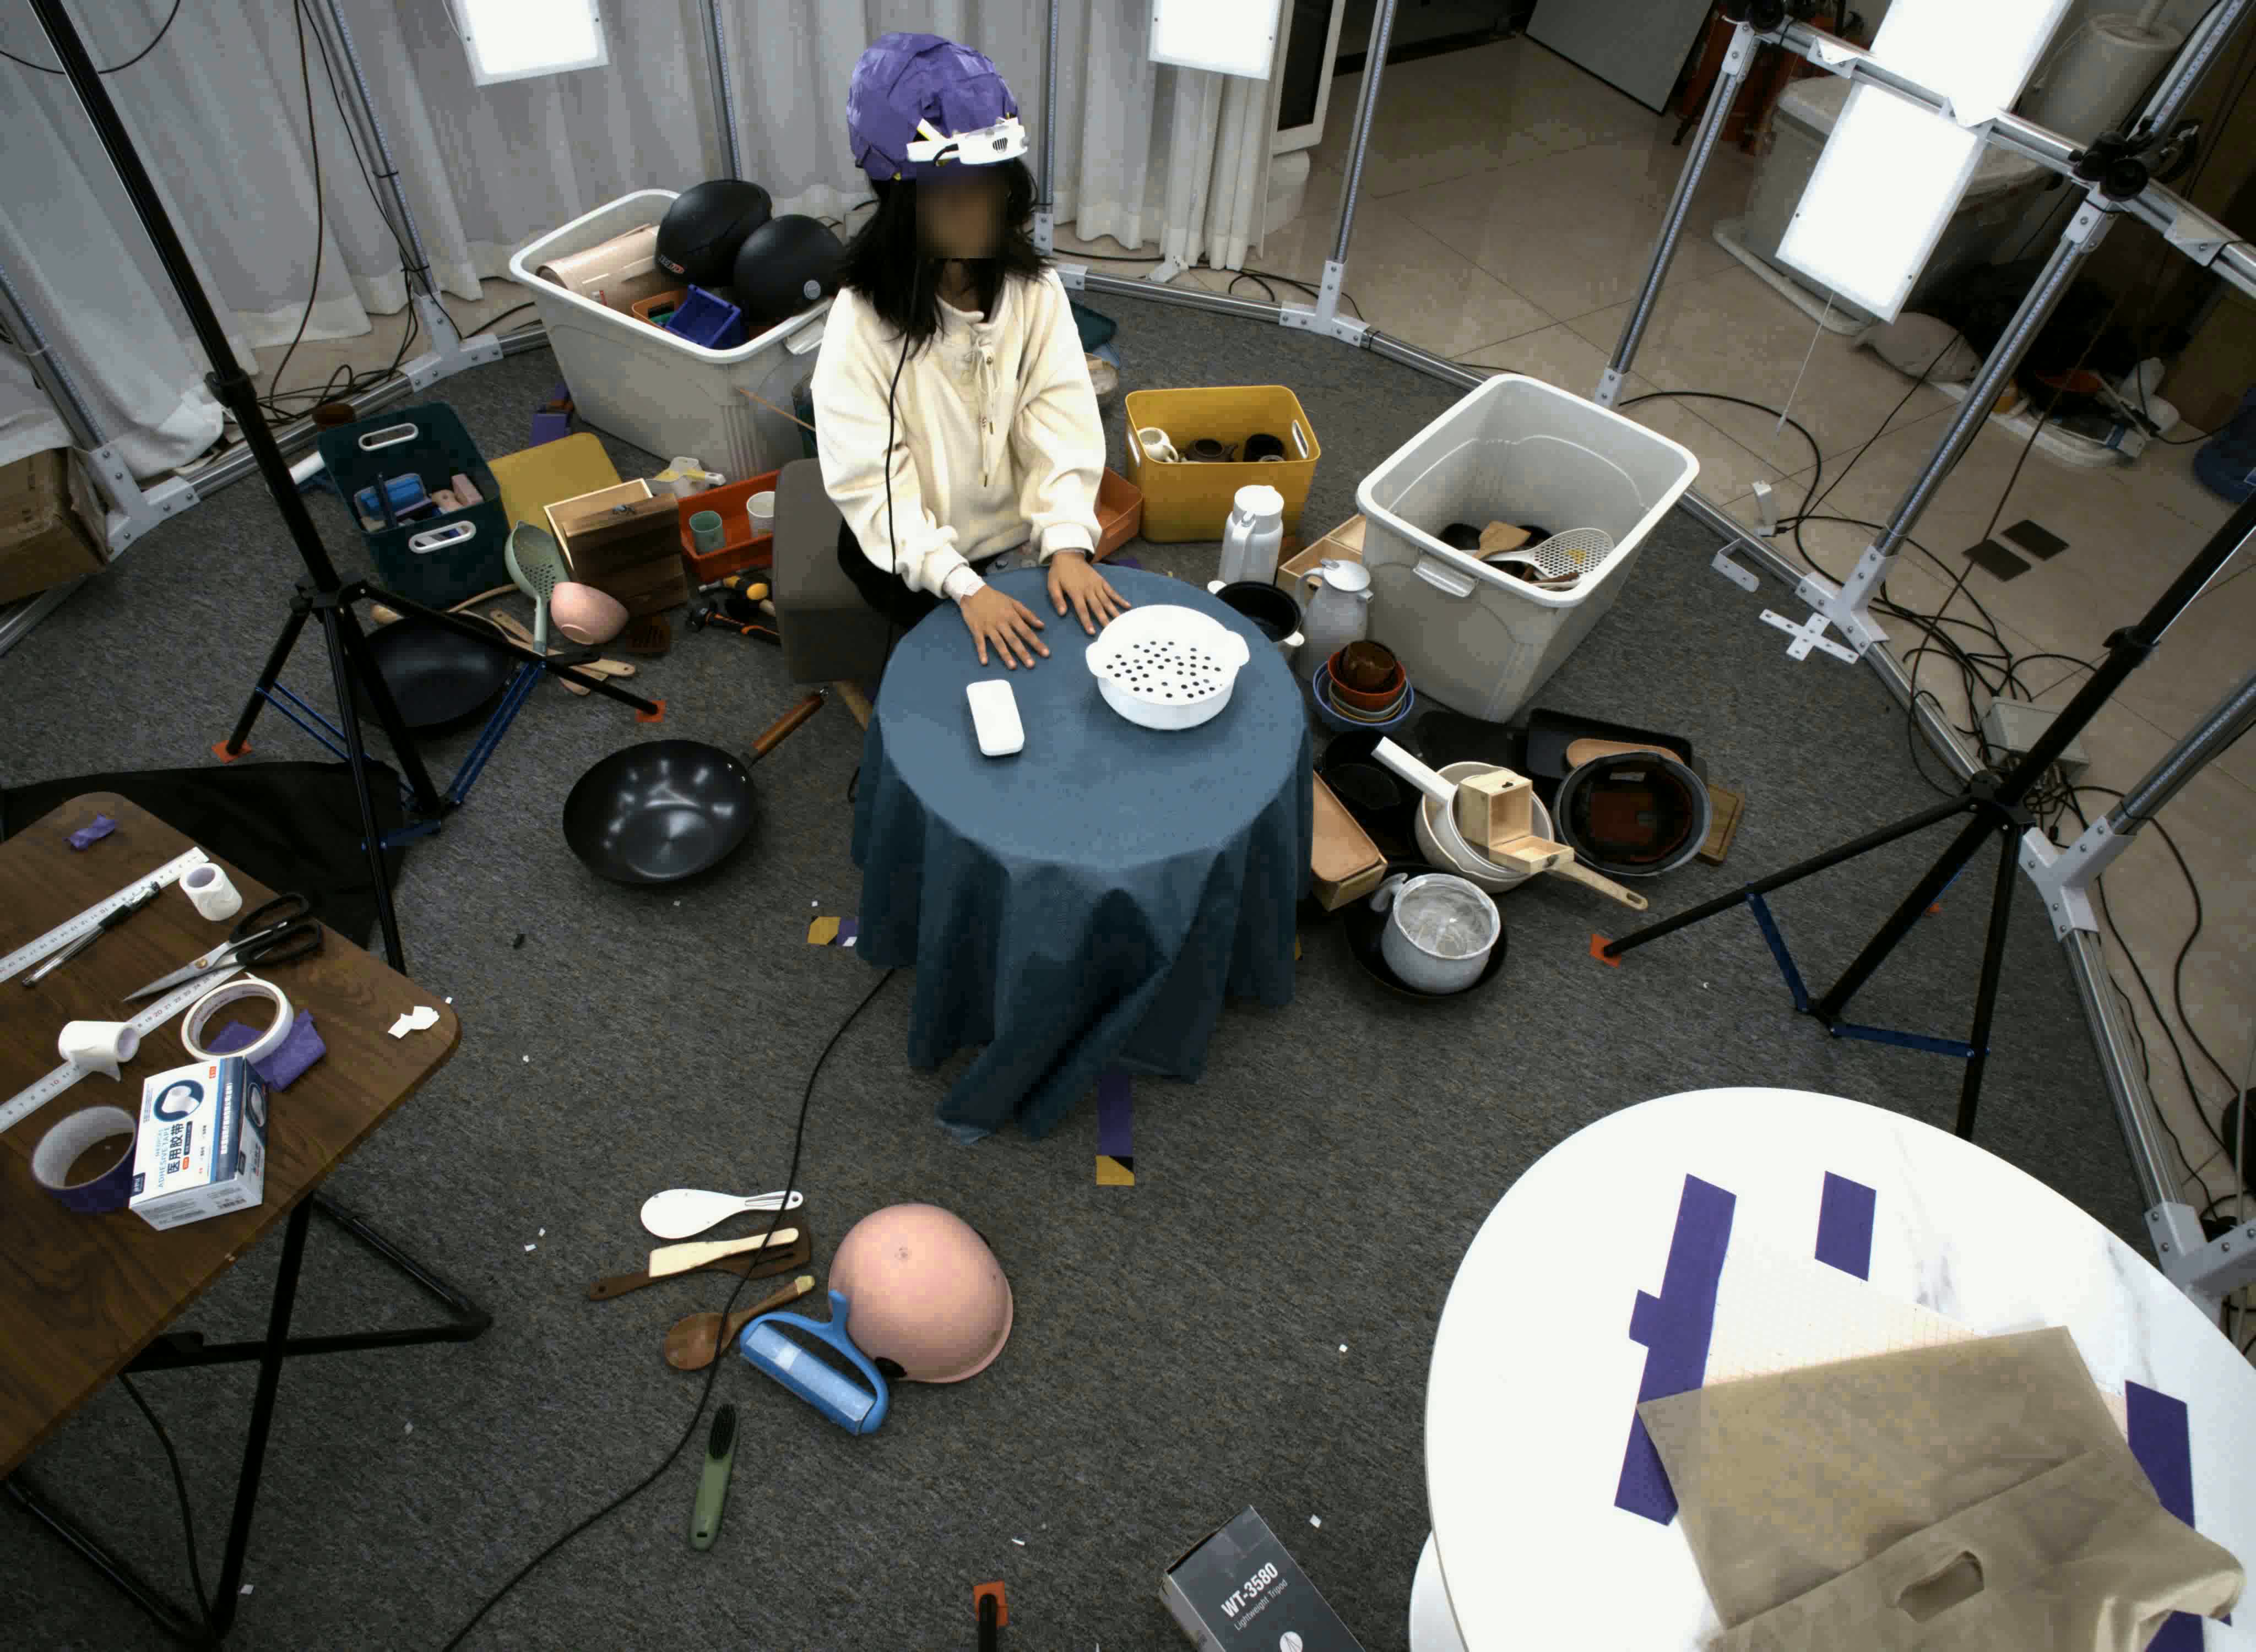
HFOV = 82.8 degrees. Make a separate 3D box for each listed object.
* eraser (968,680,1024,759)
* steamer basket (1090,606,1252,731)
[{"bbox_3d":[-0.182,-0.150,1.768,0.063,0.034,0.134,-7,51,-10],"label":"eraser"},{"bbox_3d":[0.060,-0.225,1.825,0.230,0.067,0.207,-6,50,-10],"label":"steamer basket"}]
